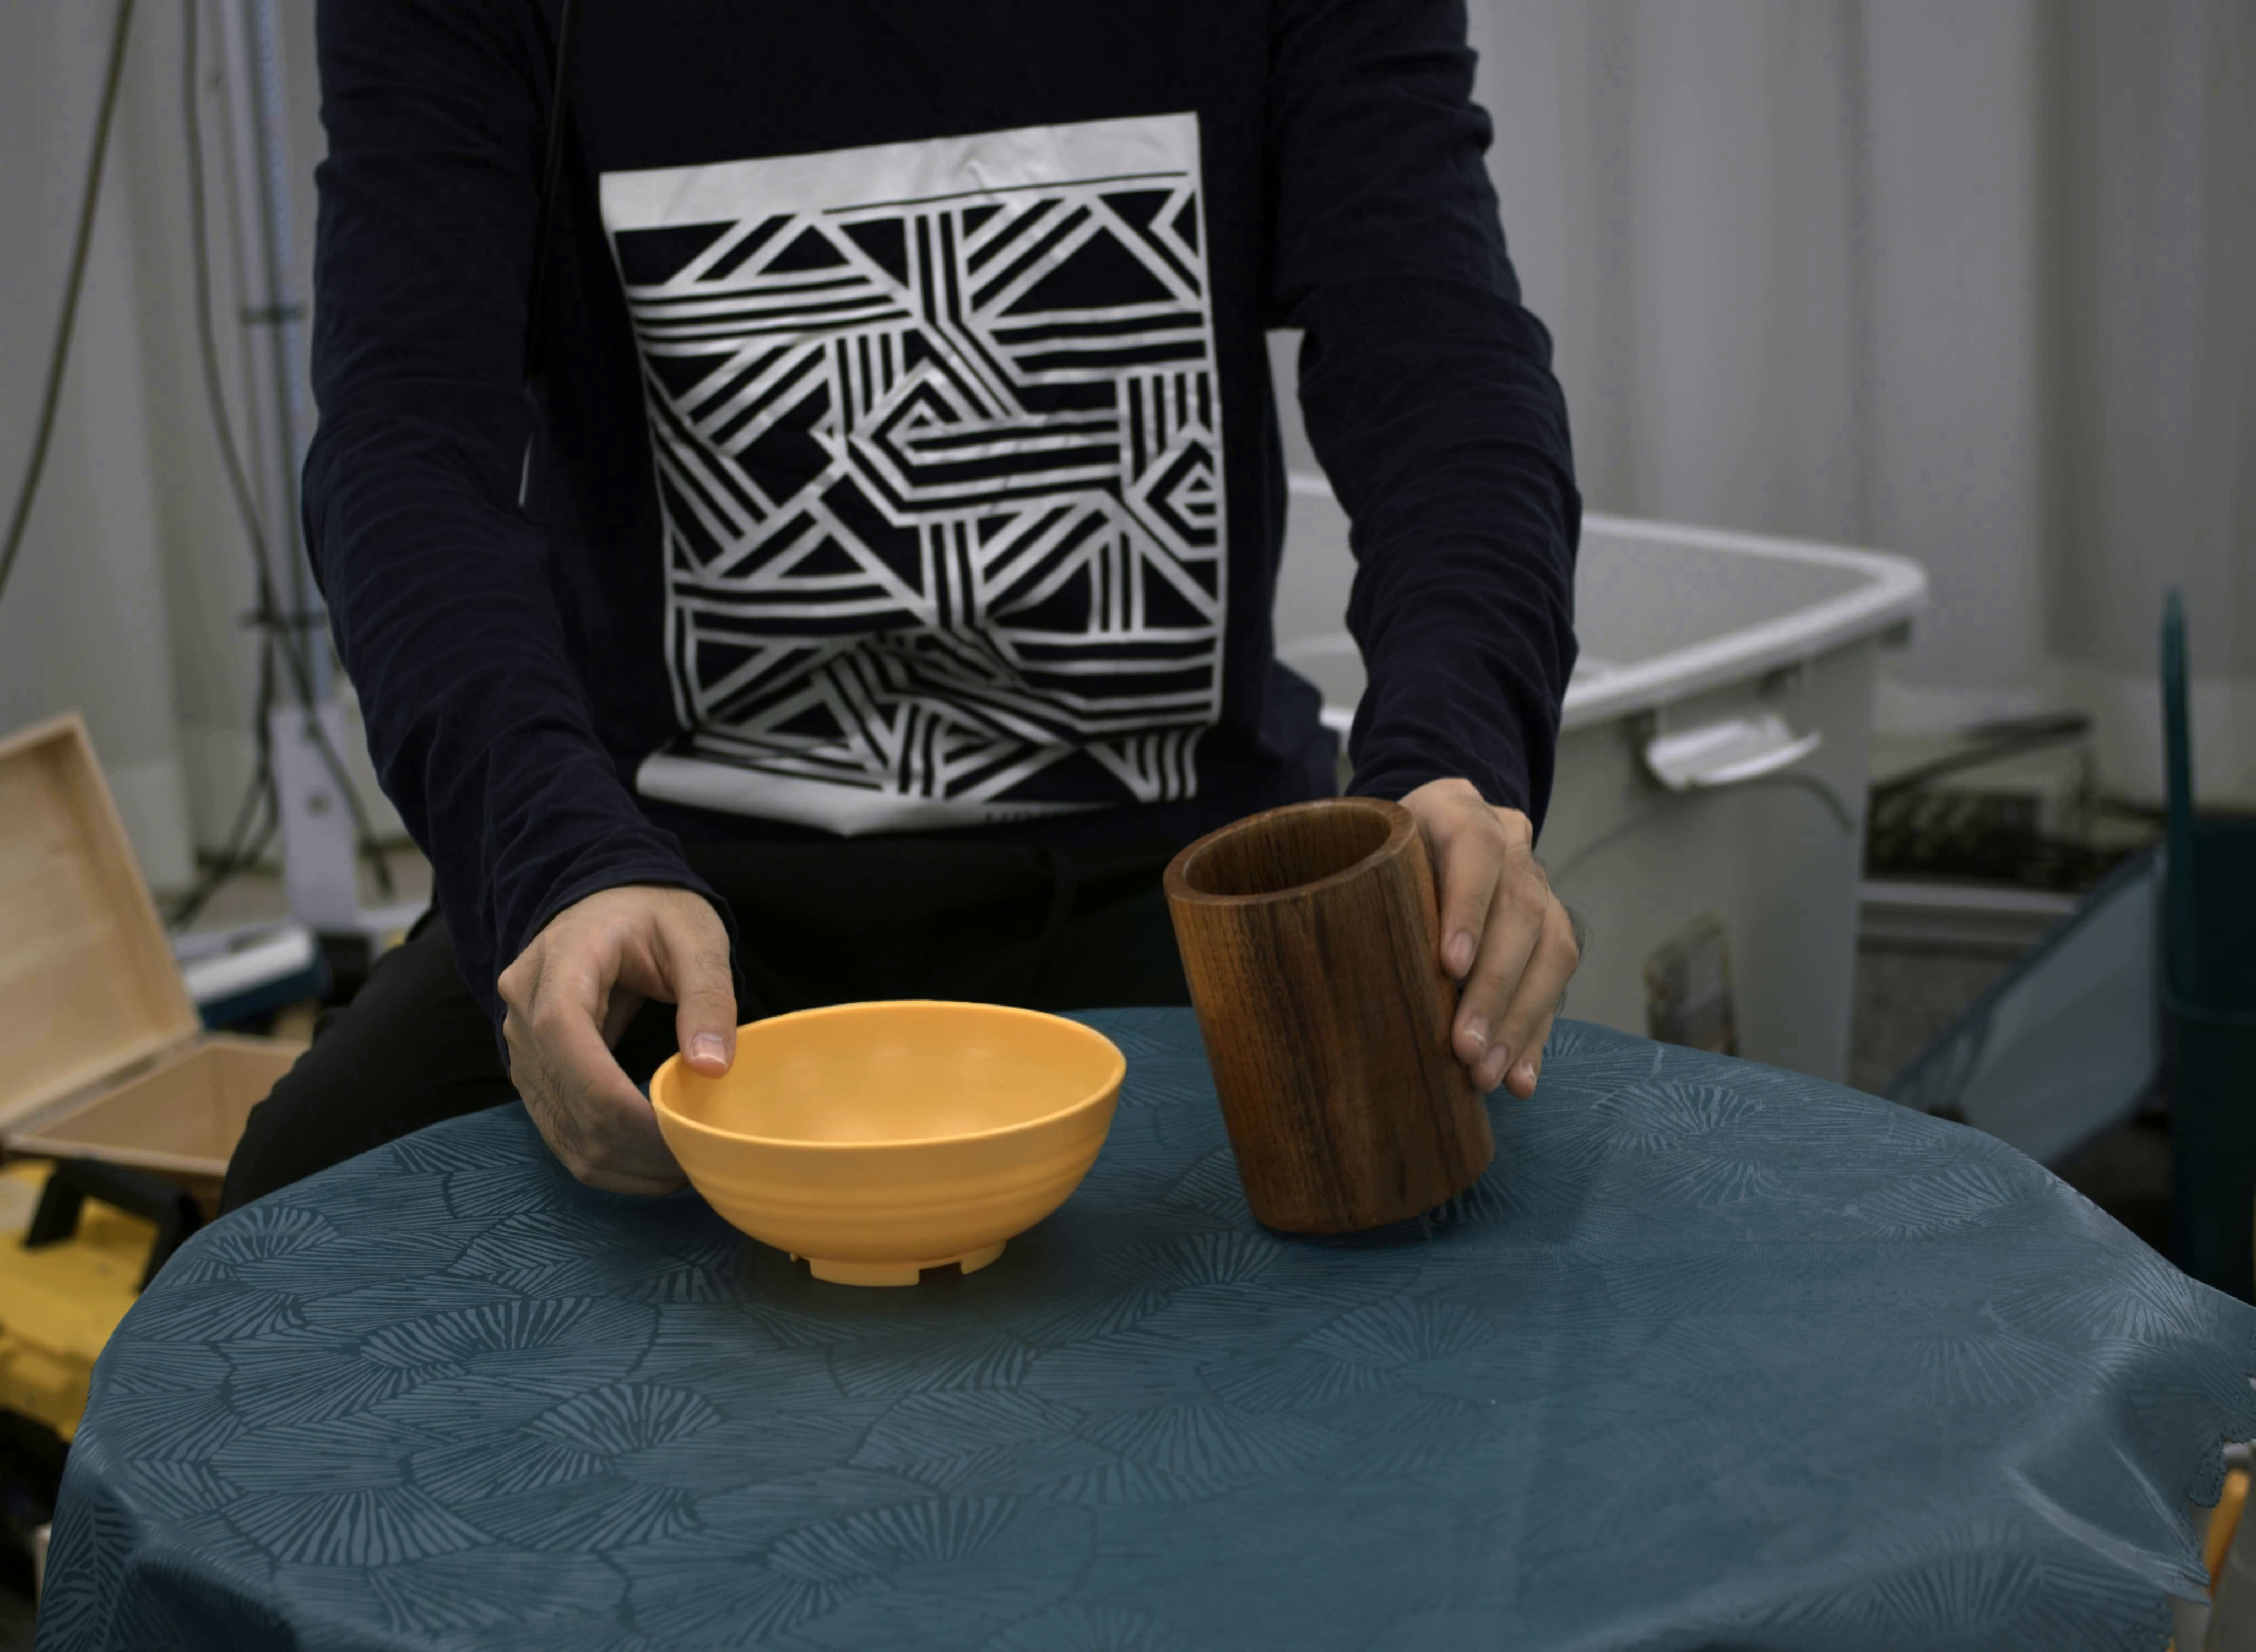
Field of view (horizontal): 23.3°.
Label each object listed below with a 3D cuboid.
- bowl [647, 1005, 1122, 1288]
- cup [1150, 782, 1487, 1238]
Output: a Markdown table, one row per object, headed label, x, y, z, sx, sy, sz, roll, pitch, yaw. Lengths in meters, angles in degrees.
| label | x | y | z | sx | sy | sz | roll | pitch | yaw |
| --- | --- | --- | --- | --- | --- | --- | --- | --- | --- |
| bowl | -0.073 | 0.102 | 1.664 | 0.145 | 0.060 | 0.146 | -2 | 14 | 0 |
| cup | 0.058 | 0.056 | 1.664 | 0.087 | 0.118 | 0.088 | -12 | 18 | 4 |
